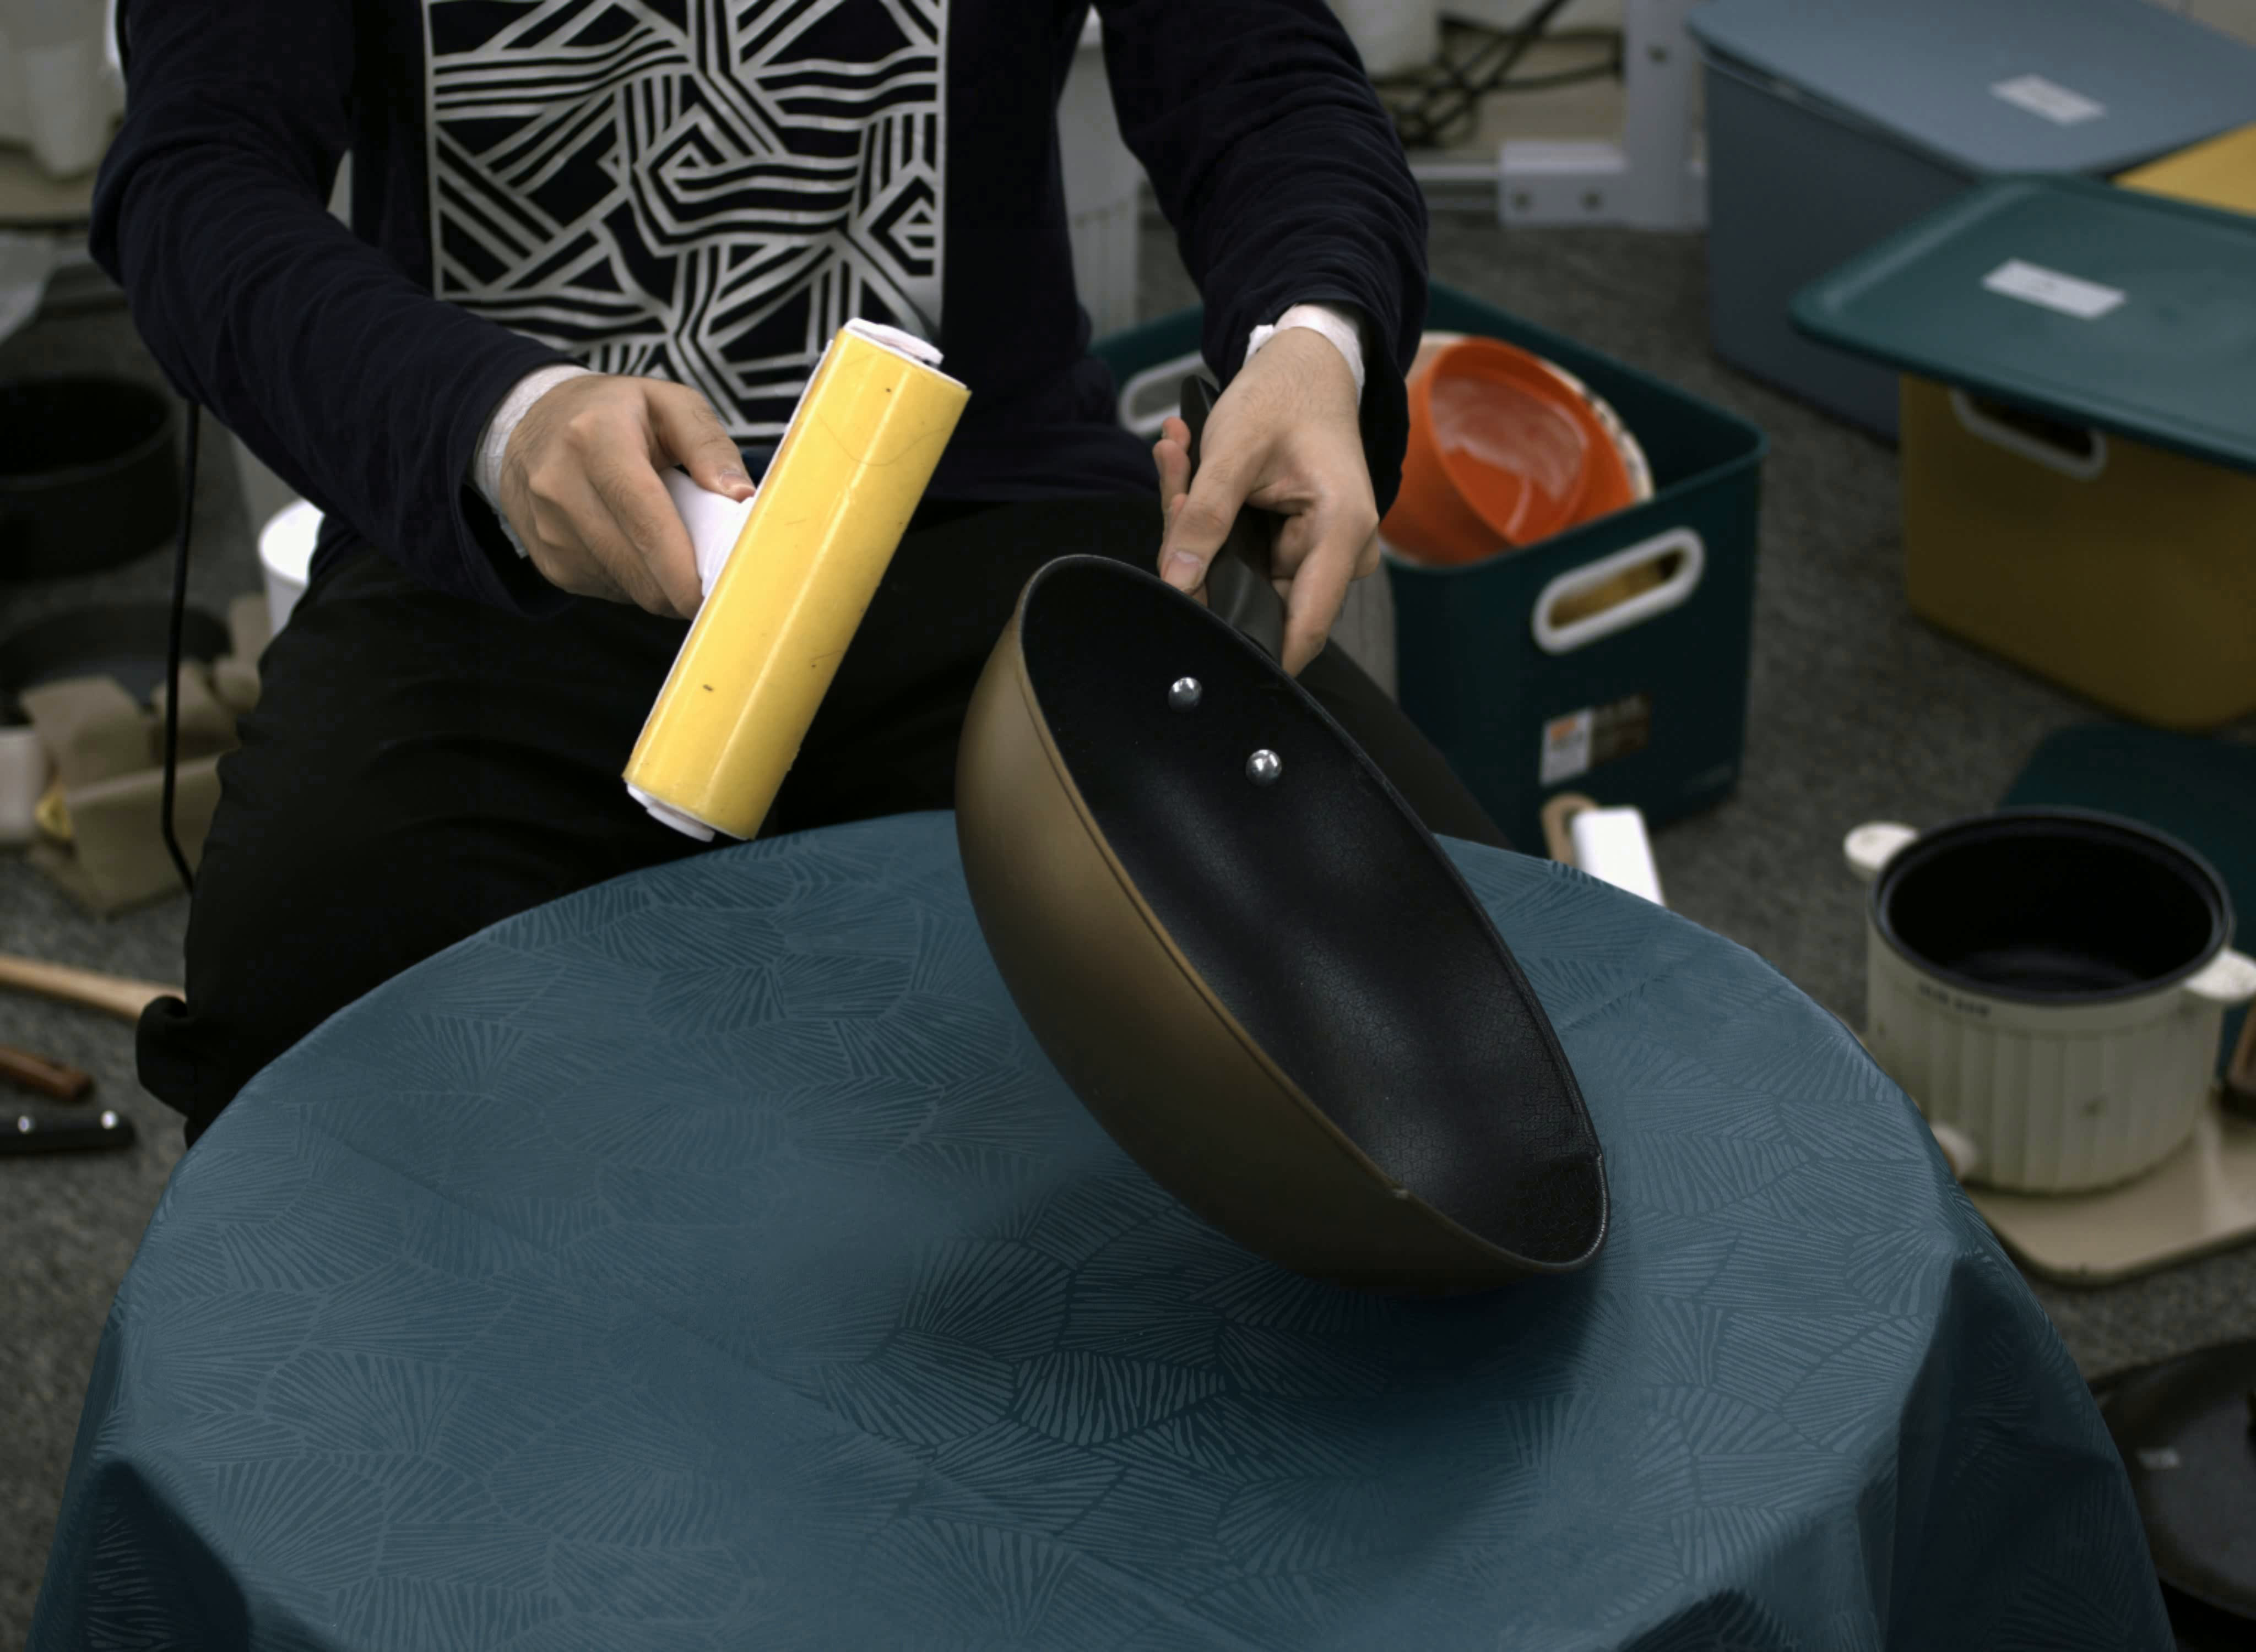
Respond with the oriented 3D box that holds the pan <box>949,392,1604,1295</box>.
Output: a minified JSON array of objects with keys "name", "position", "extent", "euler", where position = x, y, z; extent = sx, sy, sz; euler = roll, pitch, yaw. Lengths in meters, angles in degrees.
[{"name":"pan","position":[0.024,-0.007,1.866],"extent":[0.086,0.286,0.471],"euler":[-38,30,18]}]

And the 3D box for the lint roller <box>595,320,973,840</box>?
[{"name":"lint roller","position":[-0.142,-0.095,1.858],"extent":[0.051,0.175,0.192],"euler":[27,-2,-37]}]
